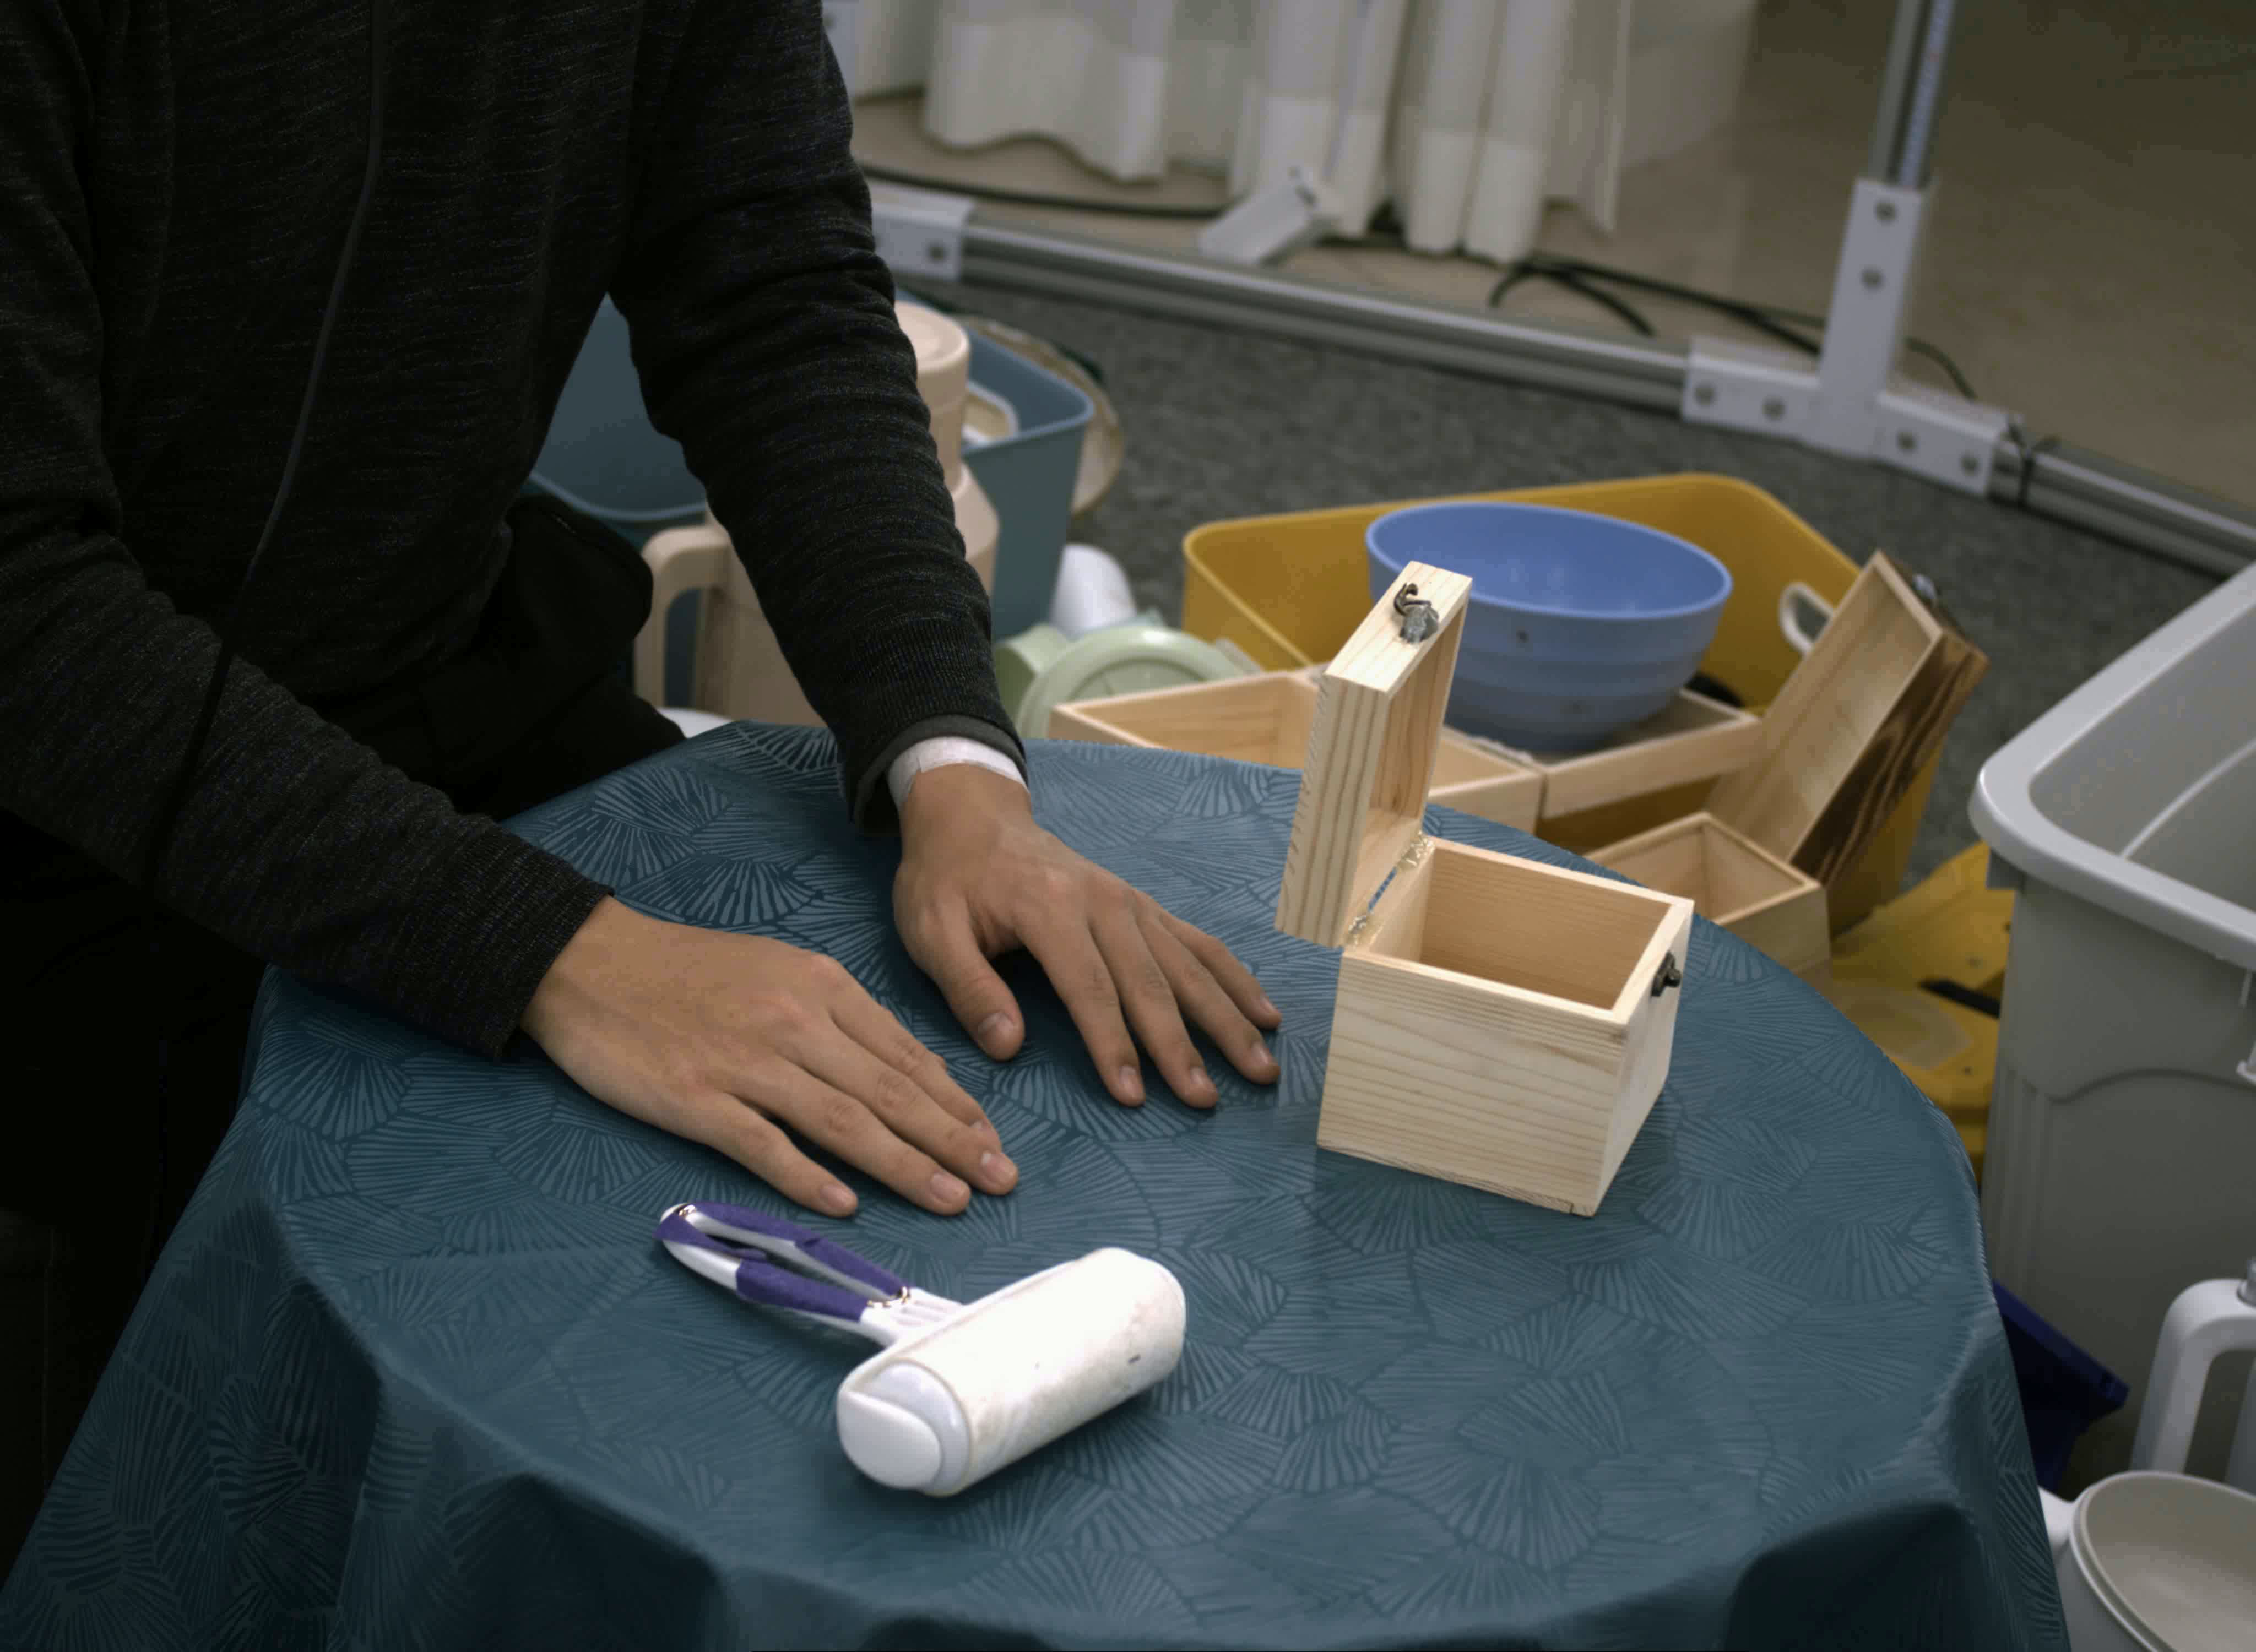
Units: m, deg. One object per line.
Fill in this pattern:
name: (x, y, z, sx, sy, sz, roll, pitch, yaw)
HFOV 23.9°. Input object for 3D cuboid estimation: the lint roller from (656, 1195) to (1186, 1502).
lint roller: (-0.080, 0.145, 1.691, 0.182, 0.050, 0.132, 29, 36, 34)

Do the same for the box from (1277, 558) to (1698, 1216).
box: (0.129, 0.020, 1.833, 0.134, 0.184, 0.103, 14, 27, 15)
